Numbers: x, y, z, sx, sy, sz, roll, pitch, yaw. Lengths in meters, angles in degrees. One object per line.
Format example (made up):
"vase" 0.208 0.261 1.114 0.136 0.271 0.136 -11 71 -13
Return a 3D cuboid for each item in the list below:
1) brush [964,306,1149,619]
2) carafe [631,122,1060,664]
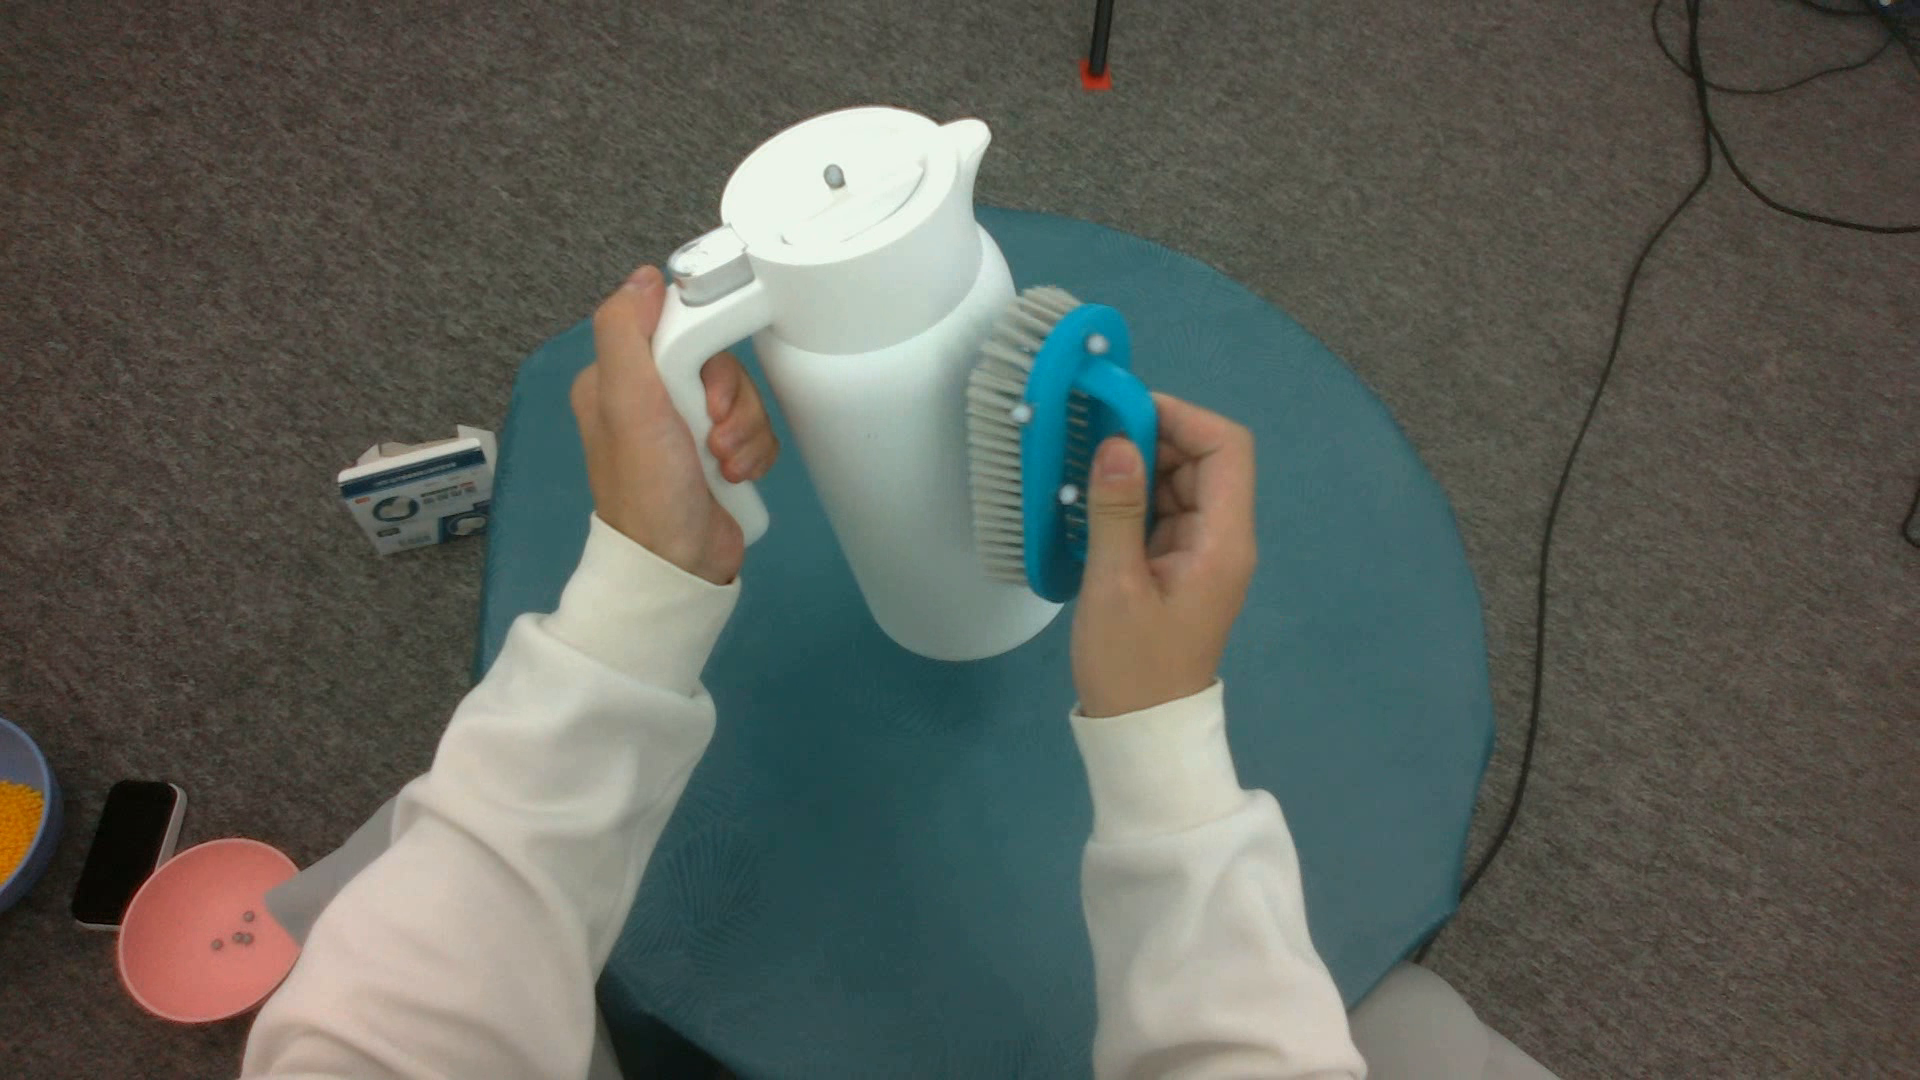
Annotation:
"brush" 0.049 -0.030 0.589 0.064 0.141 0.085 18 37 29
"carafe" -0.038 -0.048 0.657 0.173 0.268 0.124 -33 52 -10
